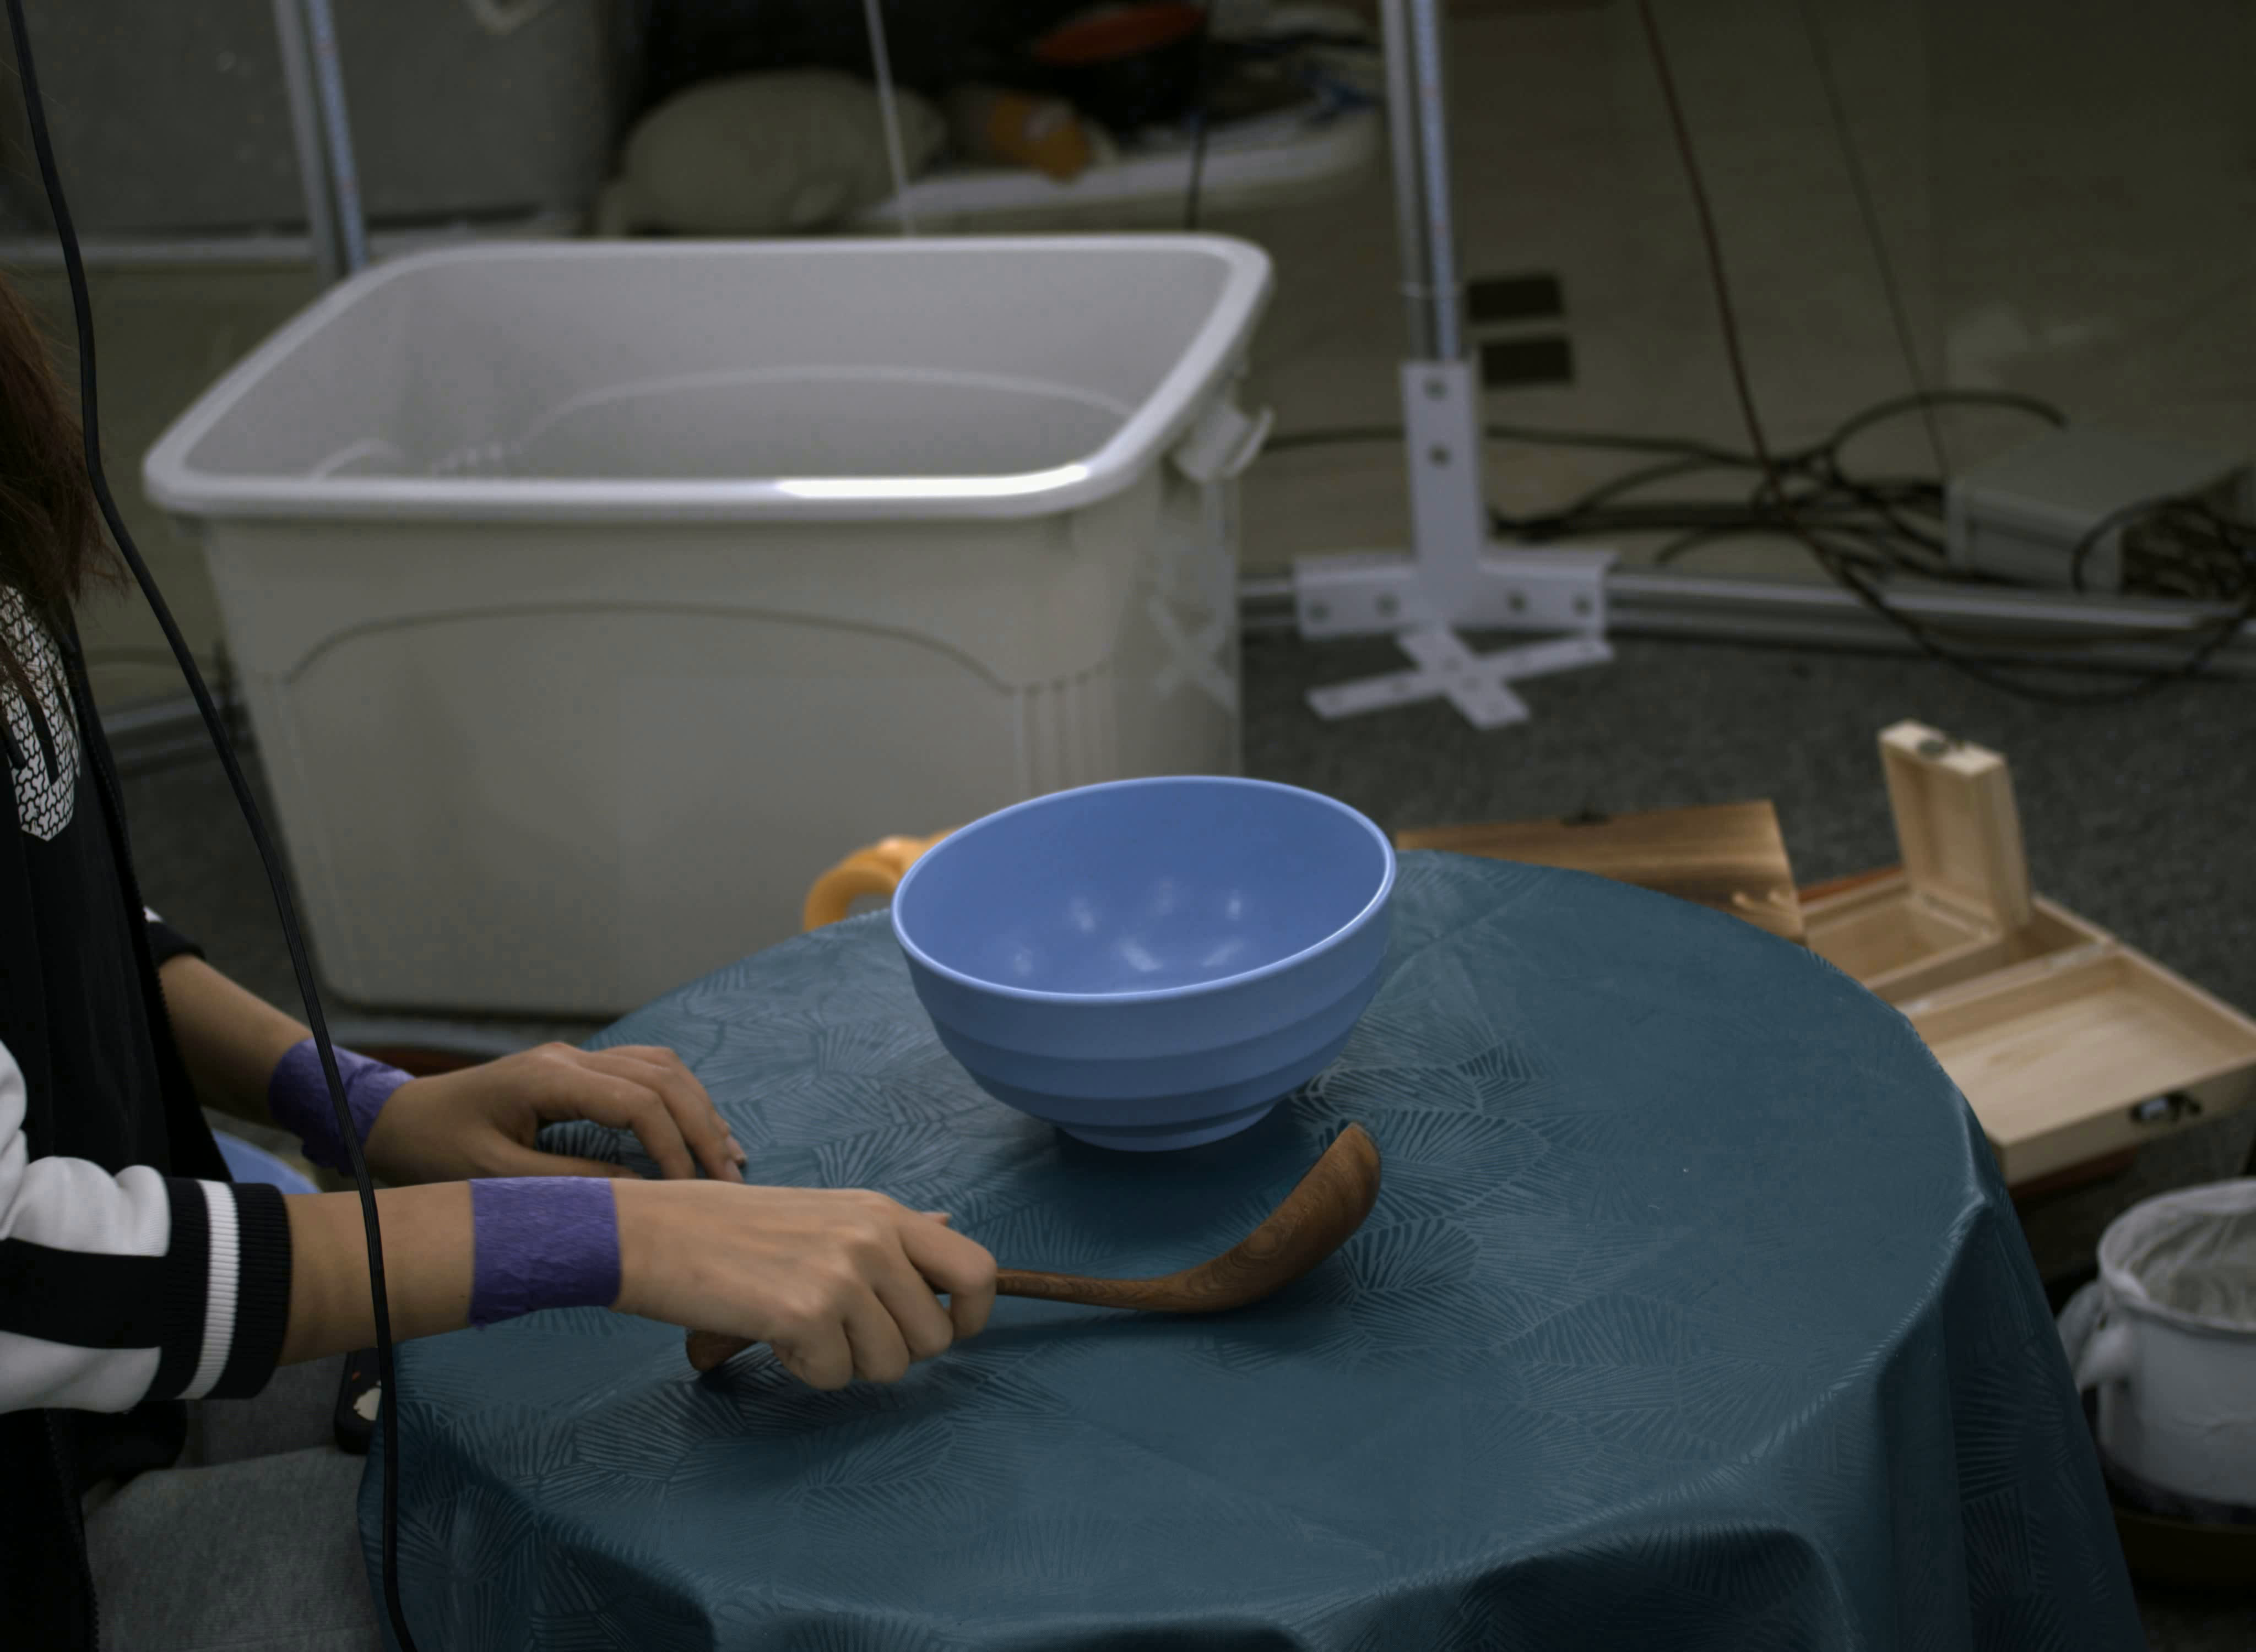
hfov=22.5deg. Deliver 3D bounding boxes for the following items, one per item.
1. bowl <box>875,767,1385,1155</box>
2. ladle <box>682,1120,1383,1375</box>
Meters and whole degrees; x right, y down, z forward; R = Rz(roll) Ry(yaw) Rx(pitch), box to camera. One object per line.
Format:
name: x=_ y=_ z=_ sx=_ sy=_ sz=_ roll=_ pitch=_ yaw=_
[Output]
bowl: x=0.002 y=0.063 z=2.197 sx=0.196 sy=0.097 sz=0.193 roll=-2 pitch=30 yaw=1
ladle: x=-0.035 y=0.152 z=2.055 sx=0.260 sy=0.065 sz=0.077 roll=-7 pitch=-8 yaw=1
